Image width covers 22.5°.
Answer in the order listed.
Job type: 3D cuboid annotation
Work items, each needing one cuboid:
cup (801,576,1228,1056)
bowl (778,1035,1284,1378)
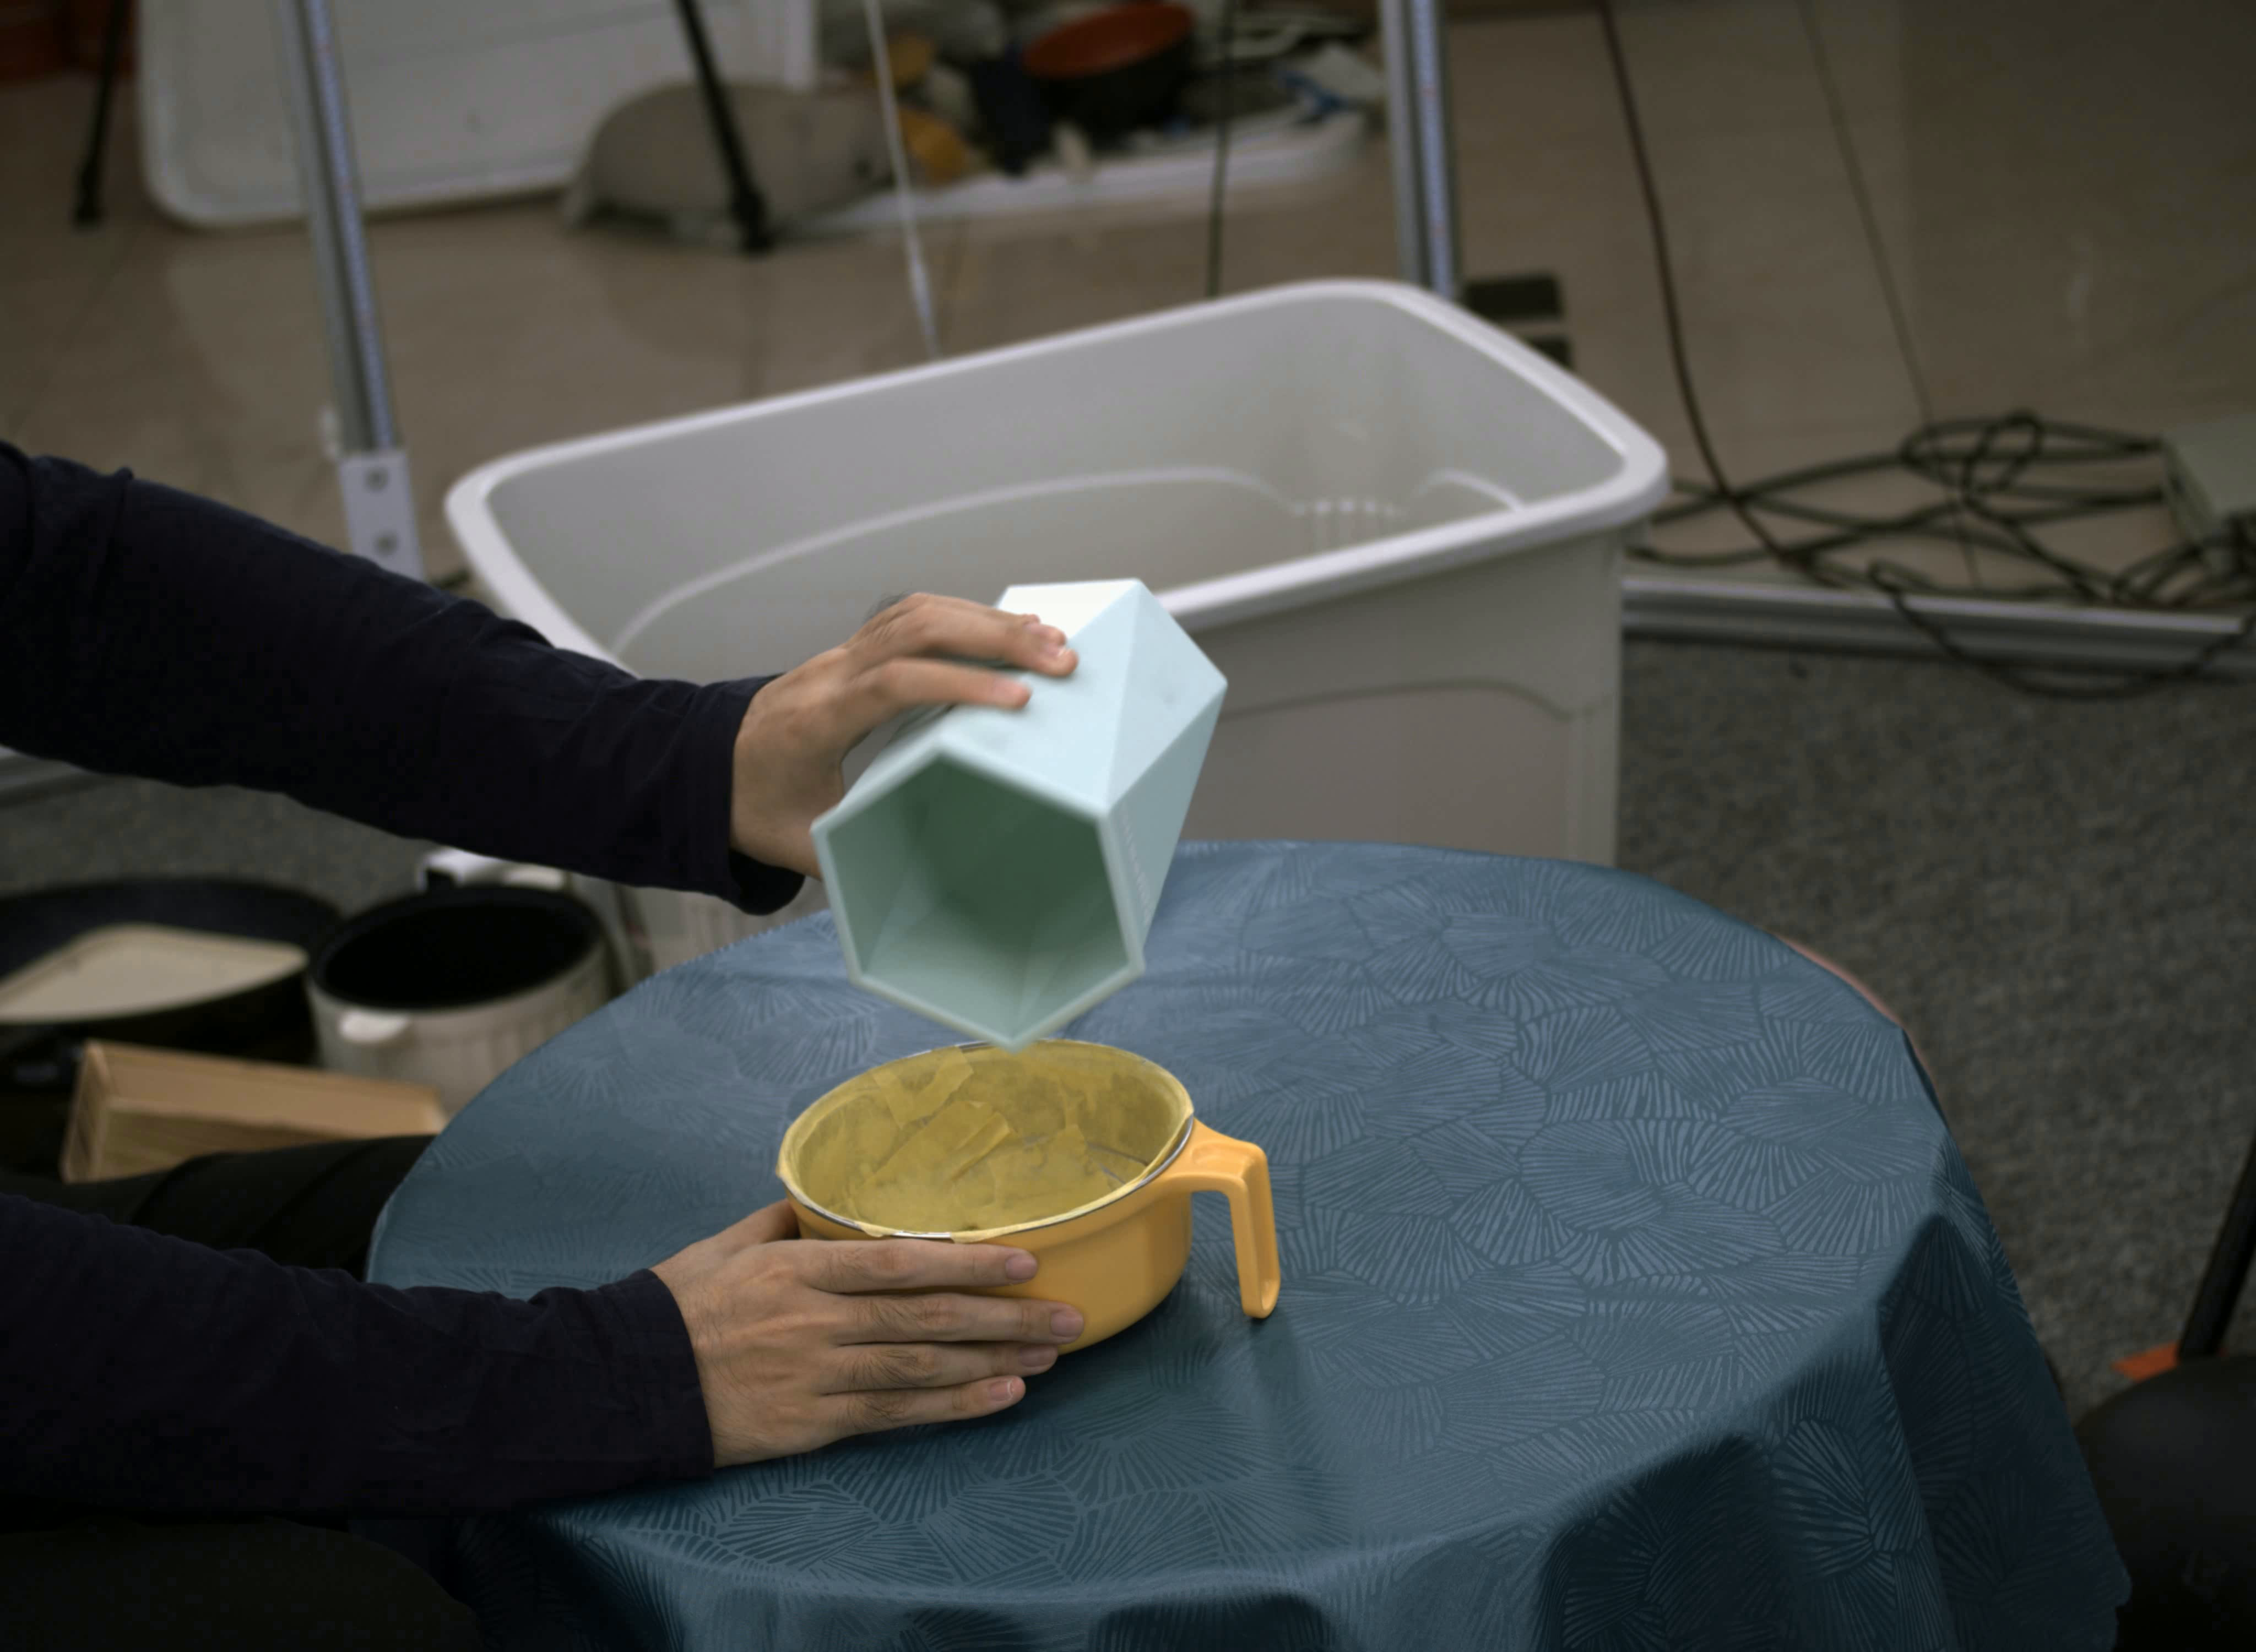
[{"bbox_3d":[-0.033,-0.013,2.085,0.115,0.133,0.160,-3,31,23],"label":"cup"},{"bbox_3d":[-0.035,0.143,2.069,0.179,0.075,0.151,-1,26,16],"label":"bowl"}]
